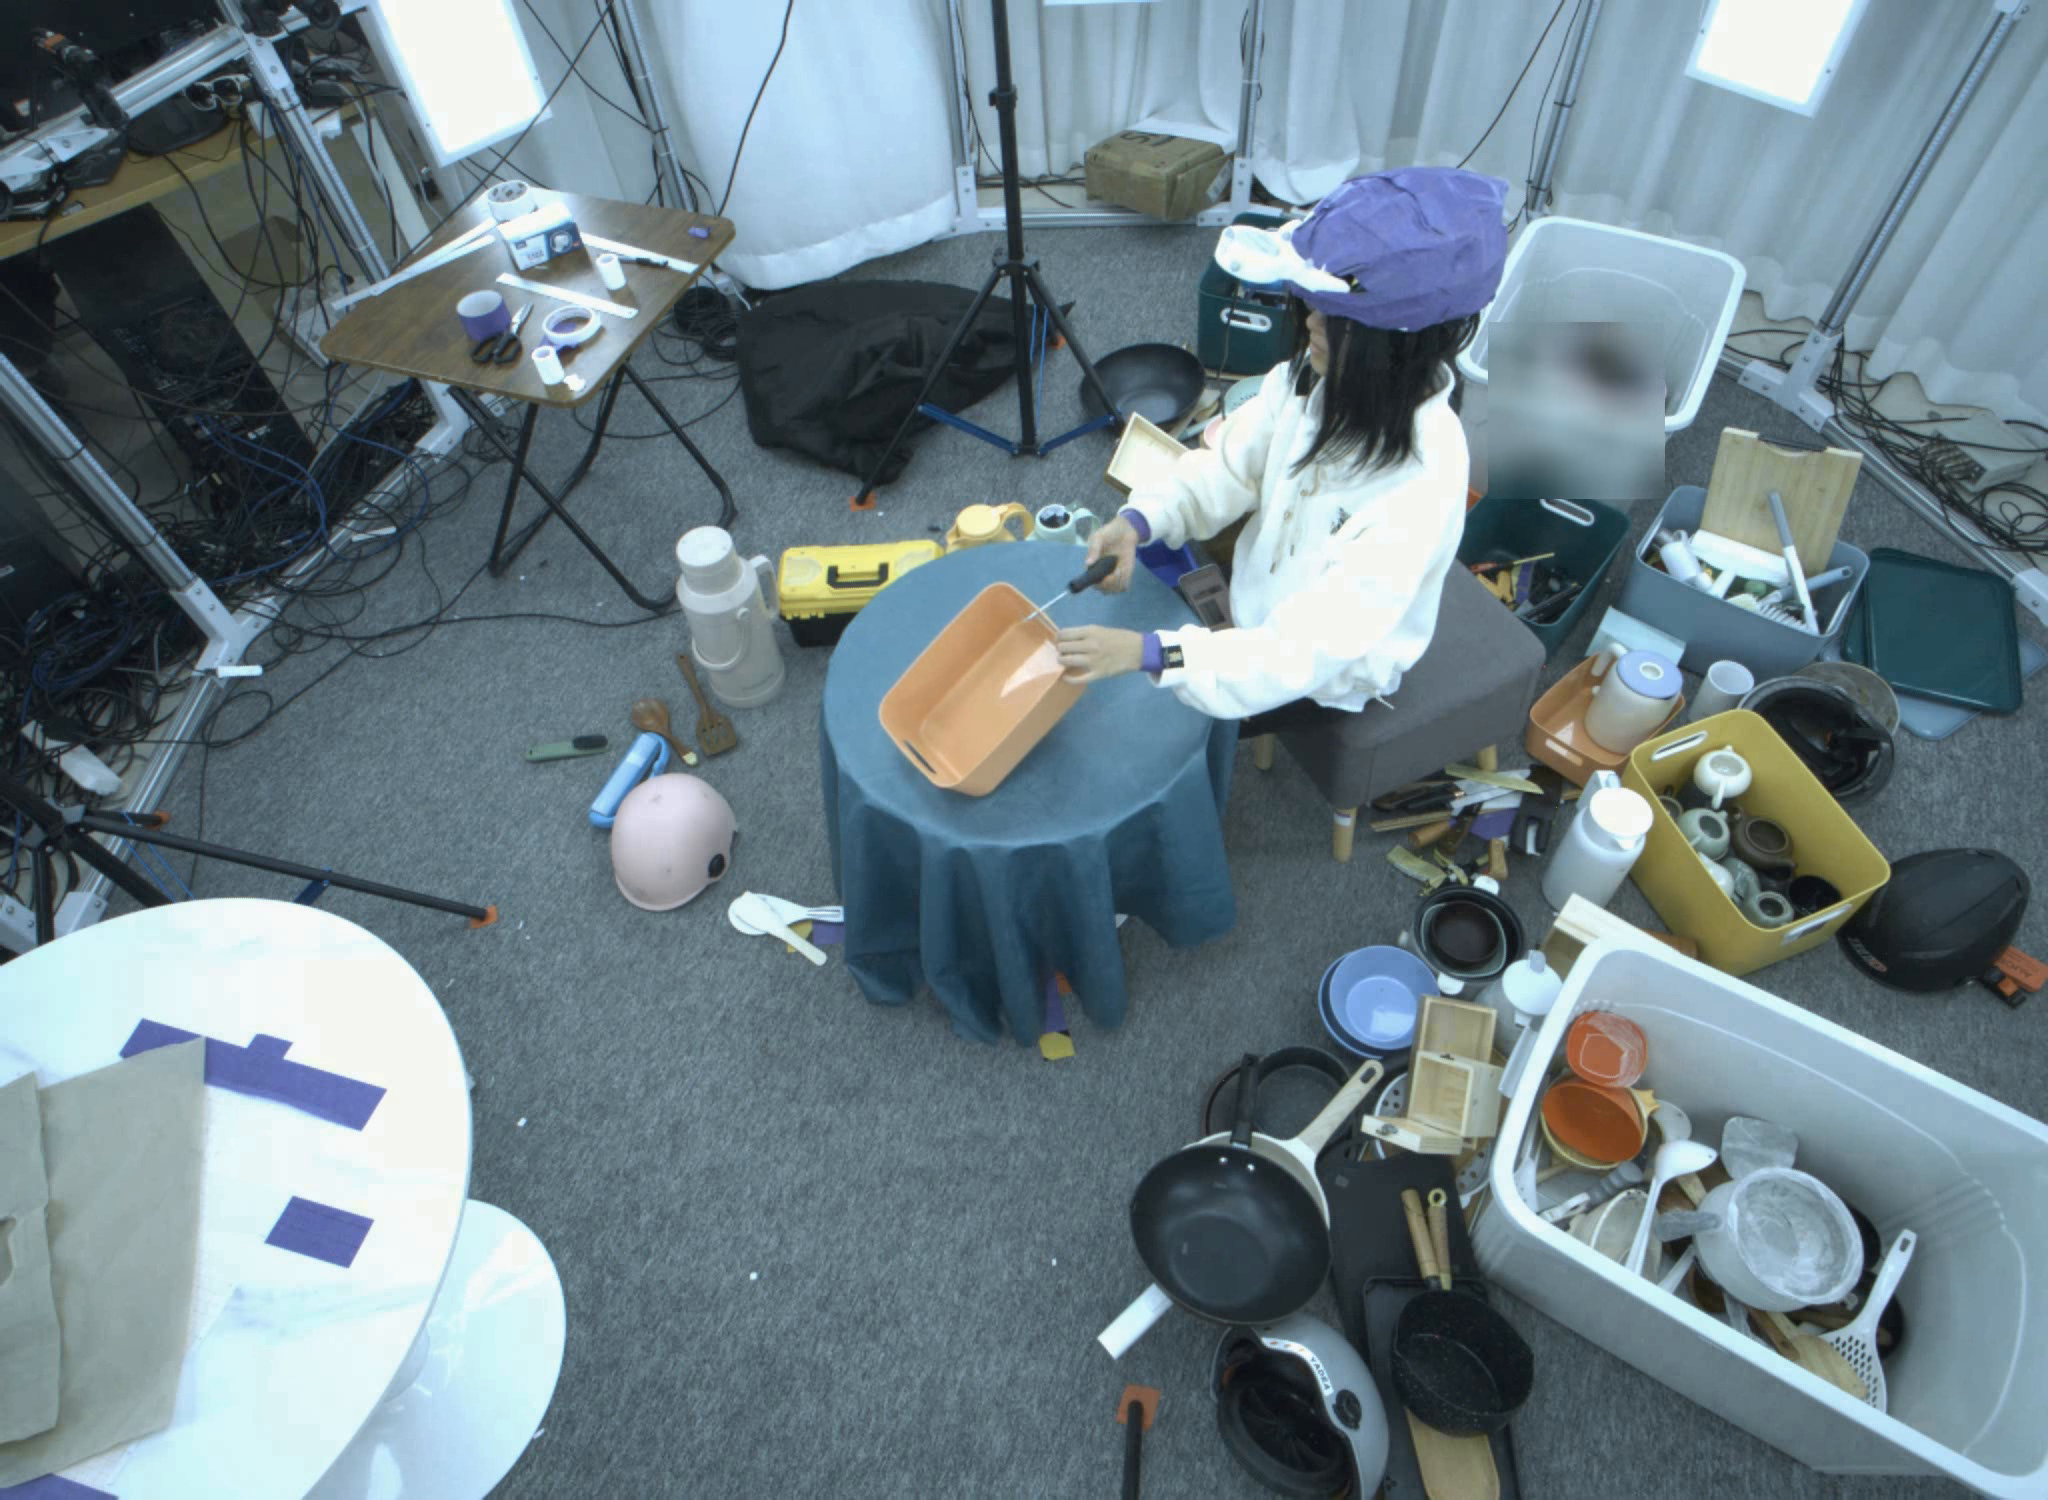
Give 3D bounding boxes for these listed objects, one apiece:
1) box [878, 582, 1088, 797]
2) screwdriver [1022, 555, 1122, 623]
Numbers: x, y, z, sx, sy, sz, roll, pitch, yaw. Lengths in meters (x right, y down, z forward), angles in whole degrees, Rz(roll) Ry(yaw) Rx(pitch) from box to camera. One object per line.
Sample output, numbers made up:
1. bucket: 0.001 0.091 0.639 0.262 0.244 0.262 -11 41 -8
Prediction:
1. box: -0.051 -0.077 1.724 0.273 0.104 0.195 -48 61 4
2. screwdriver: 0.070 -0.227 1.753 0.031 0.032 0.198 36 57 24
